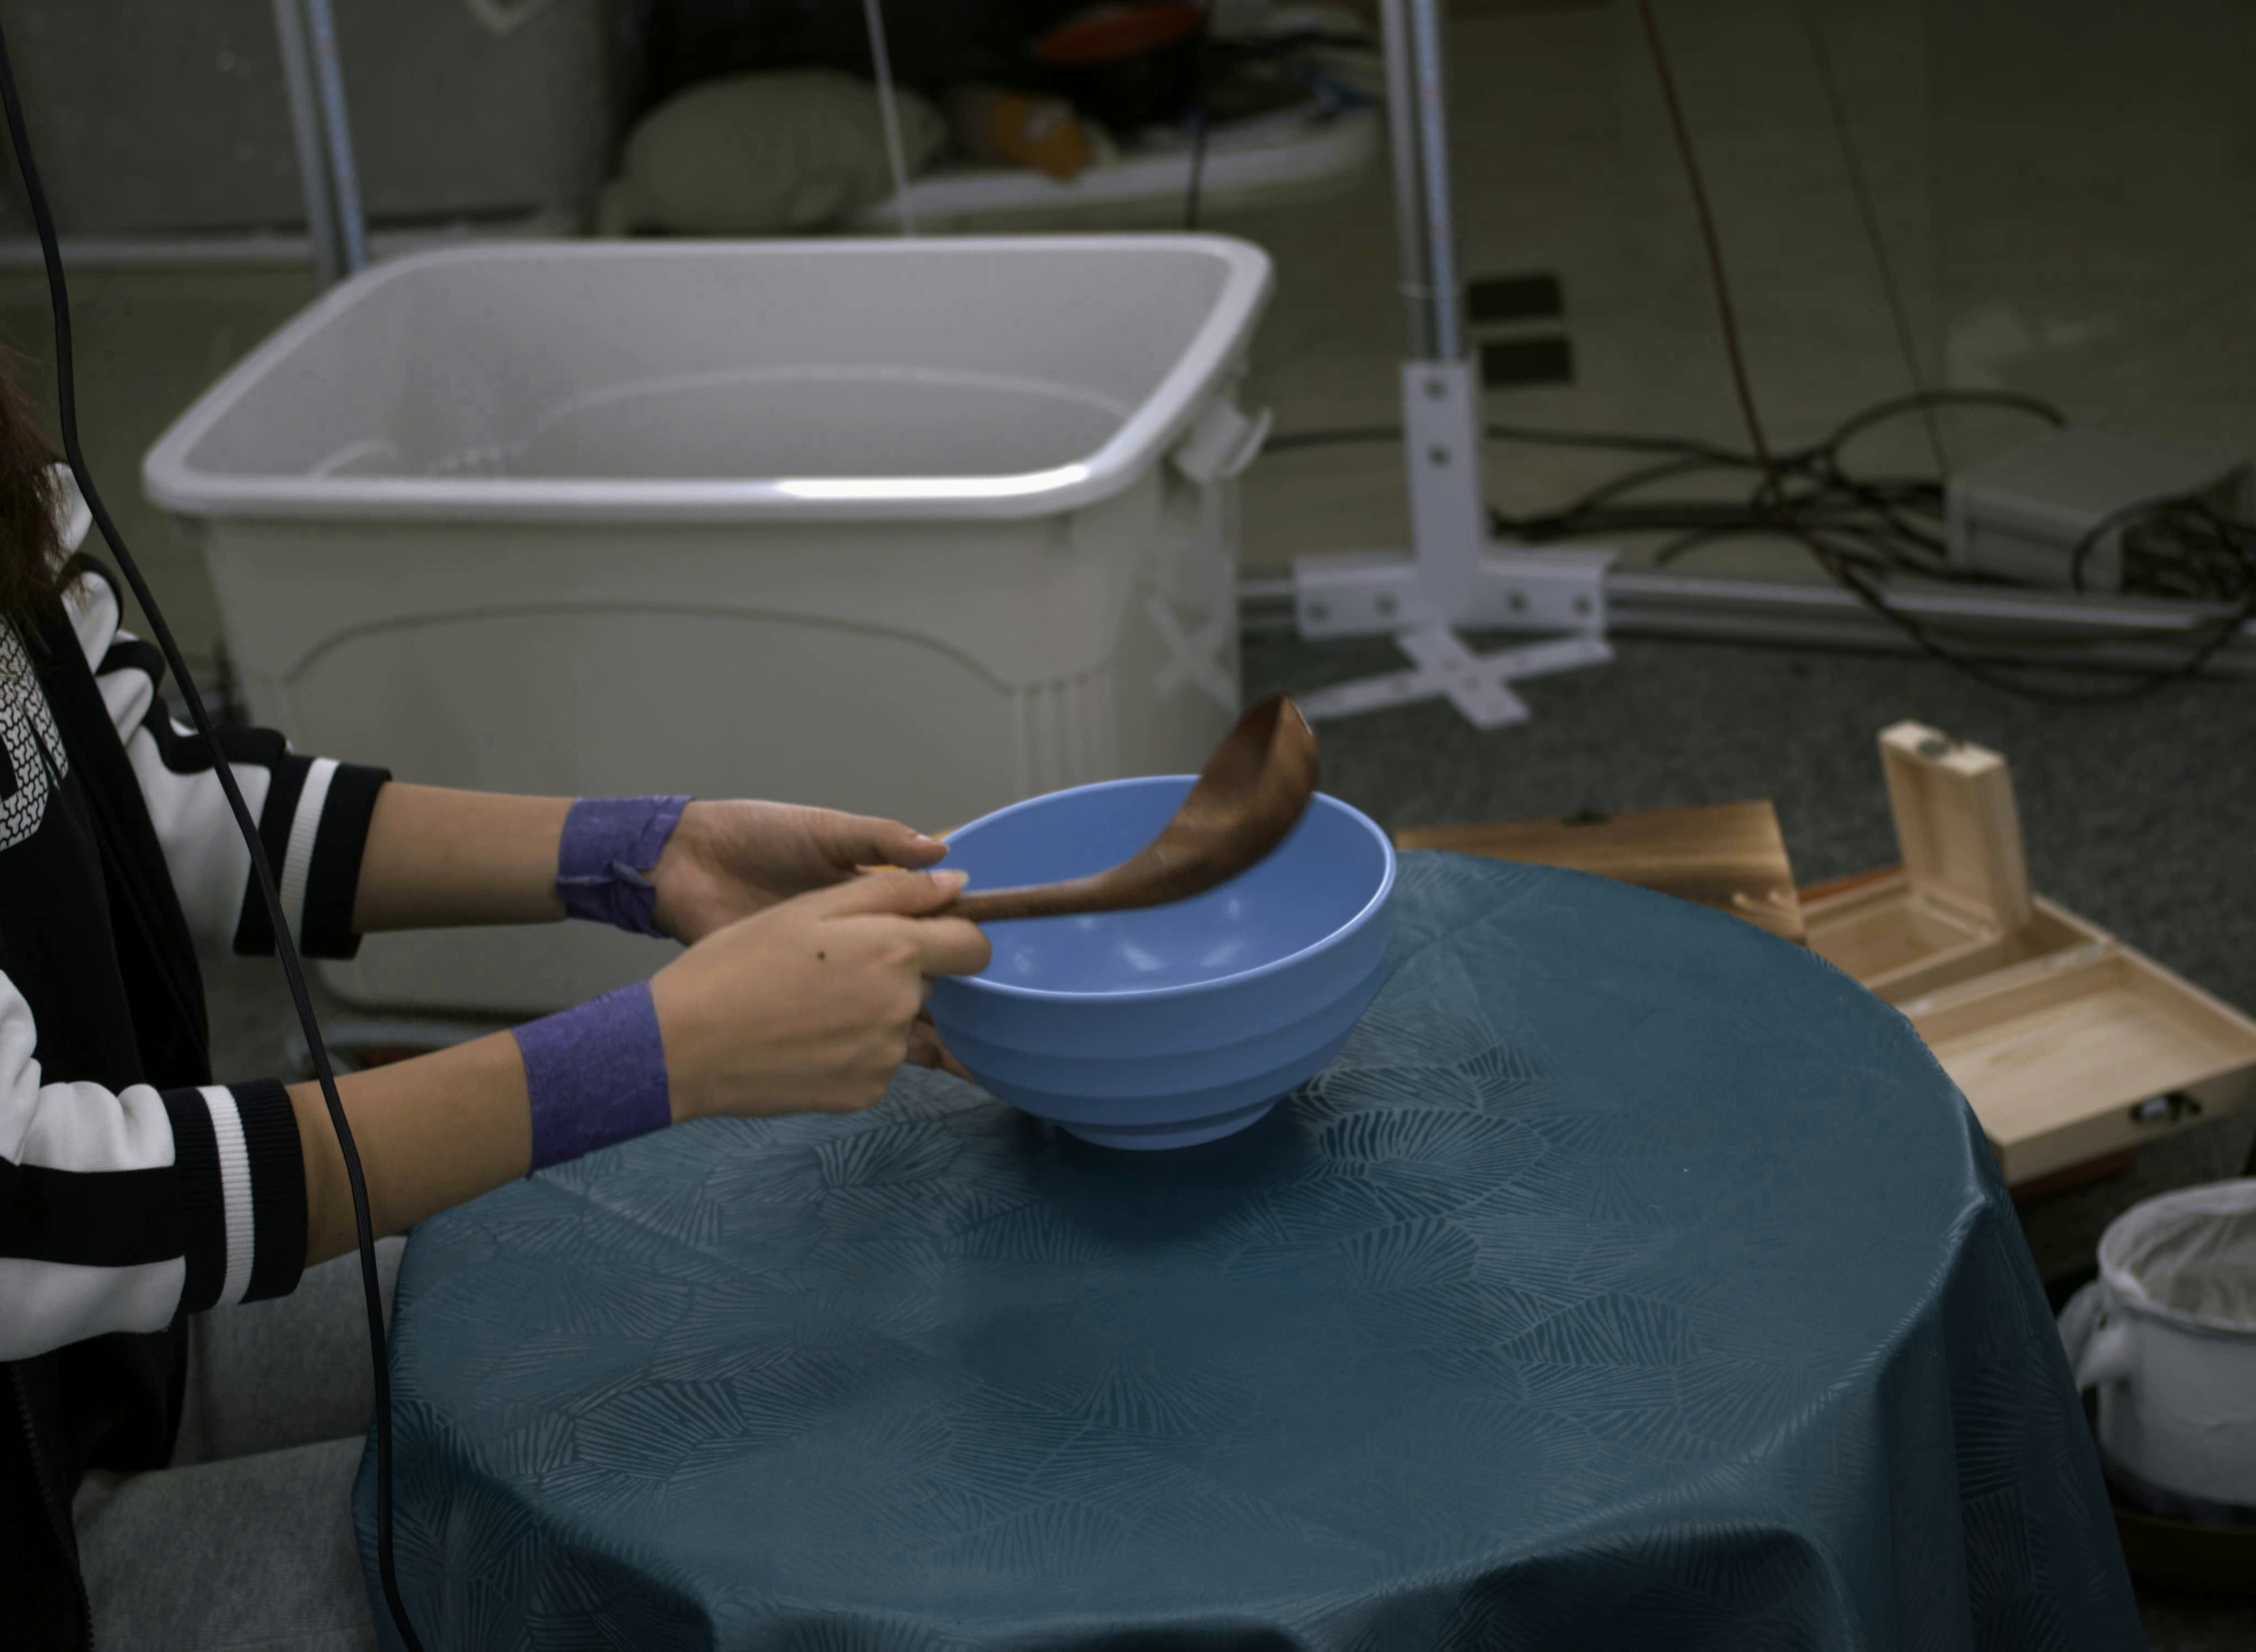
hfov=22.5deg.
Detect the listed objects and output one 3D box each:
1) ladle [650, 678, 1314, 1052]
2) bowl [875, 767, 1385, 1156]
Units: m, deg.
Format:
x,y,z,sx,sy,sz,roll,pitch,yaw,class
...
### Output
x,y,z,sx,sy,sz,roll,pitch,yaw,class
-0.055,0.013,2.032,0.260,0.065,0.076,-17,12,-1,ladle
0.003,0.064,2.197,0.196,0.097,0.193,-2,30,1,bowl
